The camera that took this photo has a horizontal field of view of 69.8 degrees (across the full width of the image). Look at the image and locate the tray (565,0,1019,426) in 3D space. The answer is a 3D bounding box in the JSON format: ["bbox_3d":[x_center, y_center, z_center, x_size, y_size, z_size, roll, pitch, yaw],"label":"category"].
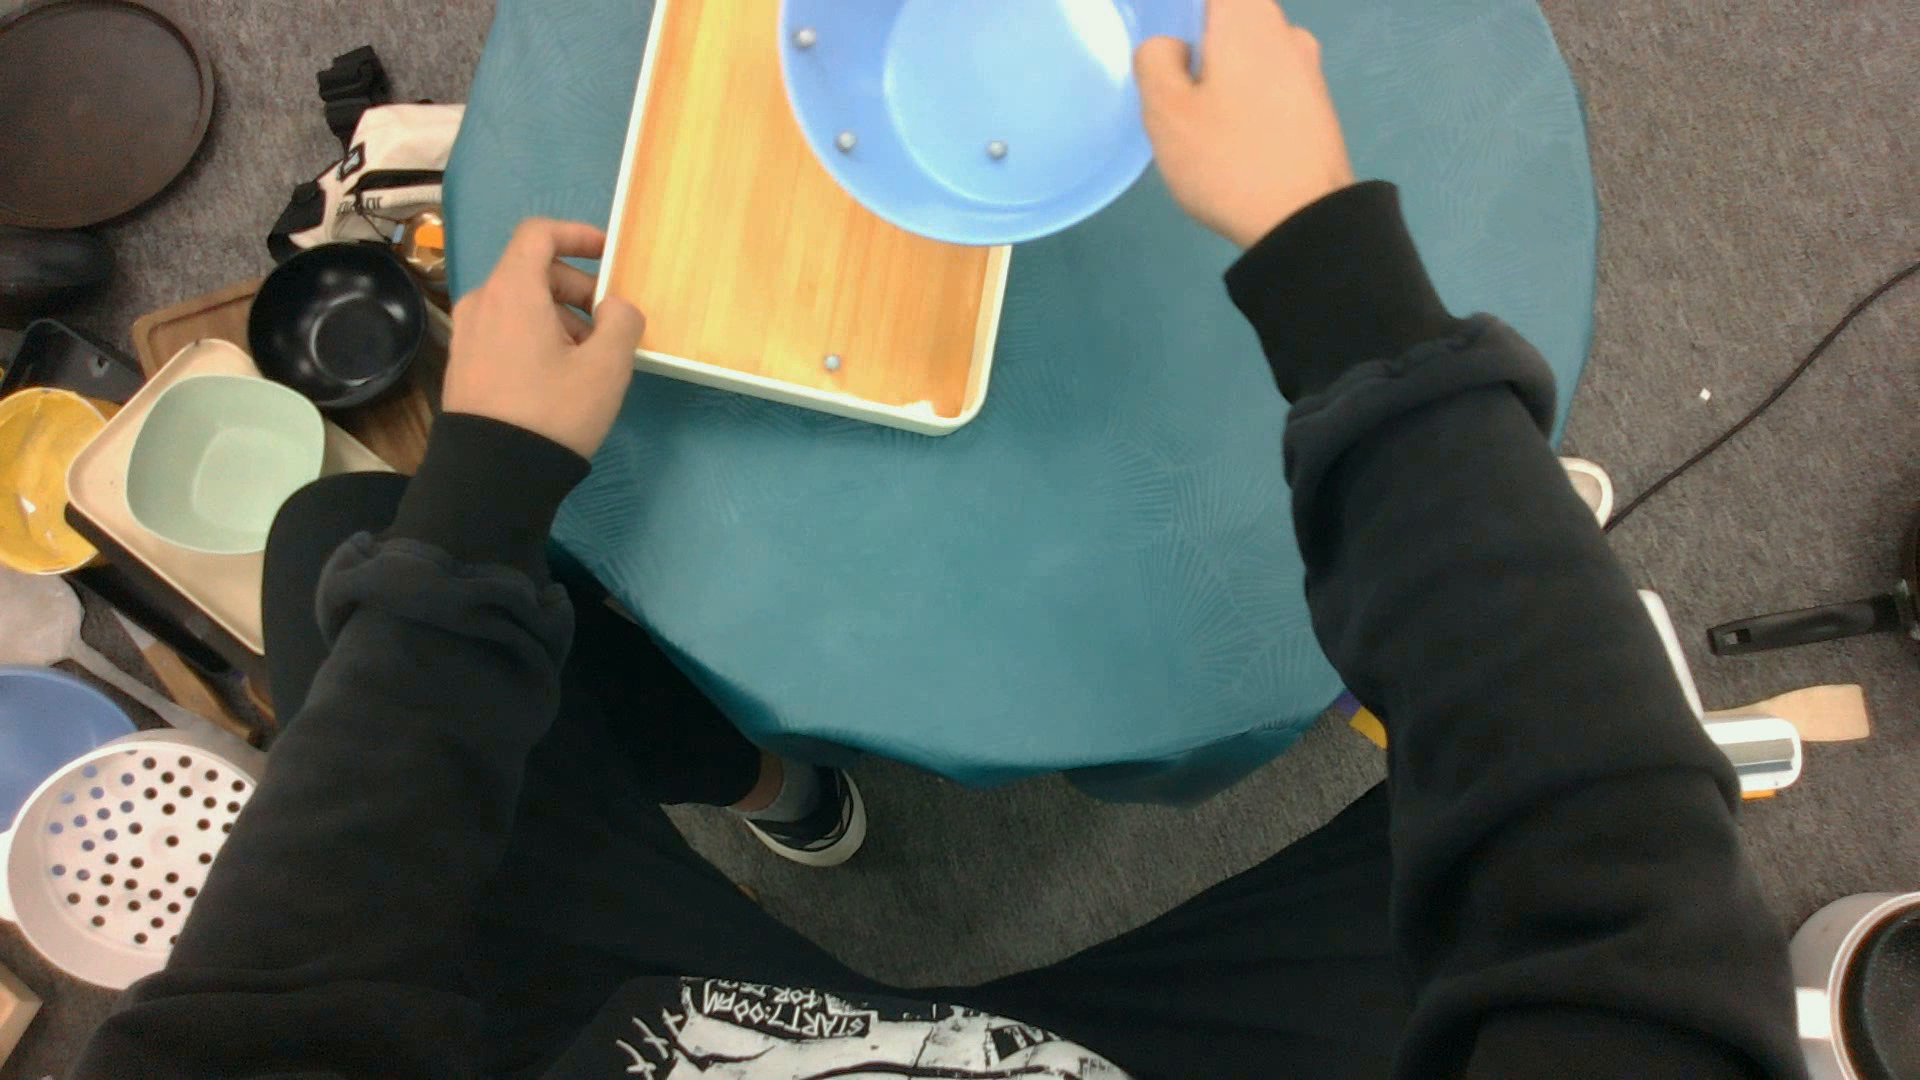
[{"bbox_3d":[-0.075,-0.218,0.693,0.192,0.027,0.301,12,77,-14],"label":"tray"}]

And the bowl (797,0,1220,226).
[{"bbox_3d":[0.023,-0.215,0.593,0.176,0.070,0.176,0,88,11],"label":"bowl"}]
